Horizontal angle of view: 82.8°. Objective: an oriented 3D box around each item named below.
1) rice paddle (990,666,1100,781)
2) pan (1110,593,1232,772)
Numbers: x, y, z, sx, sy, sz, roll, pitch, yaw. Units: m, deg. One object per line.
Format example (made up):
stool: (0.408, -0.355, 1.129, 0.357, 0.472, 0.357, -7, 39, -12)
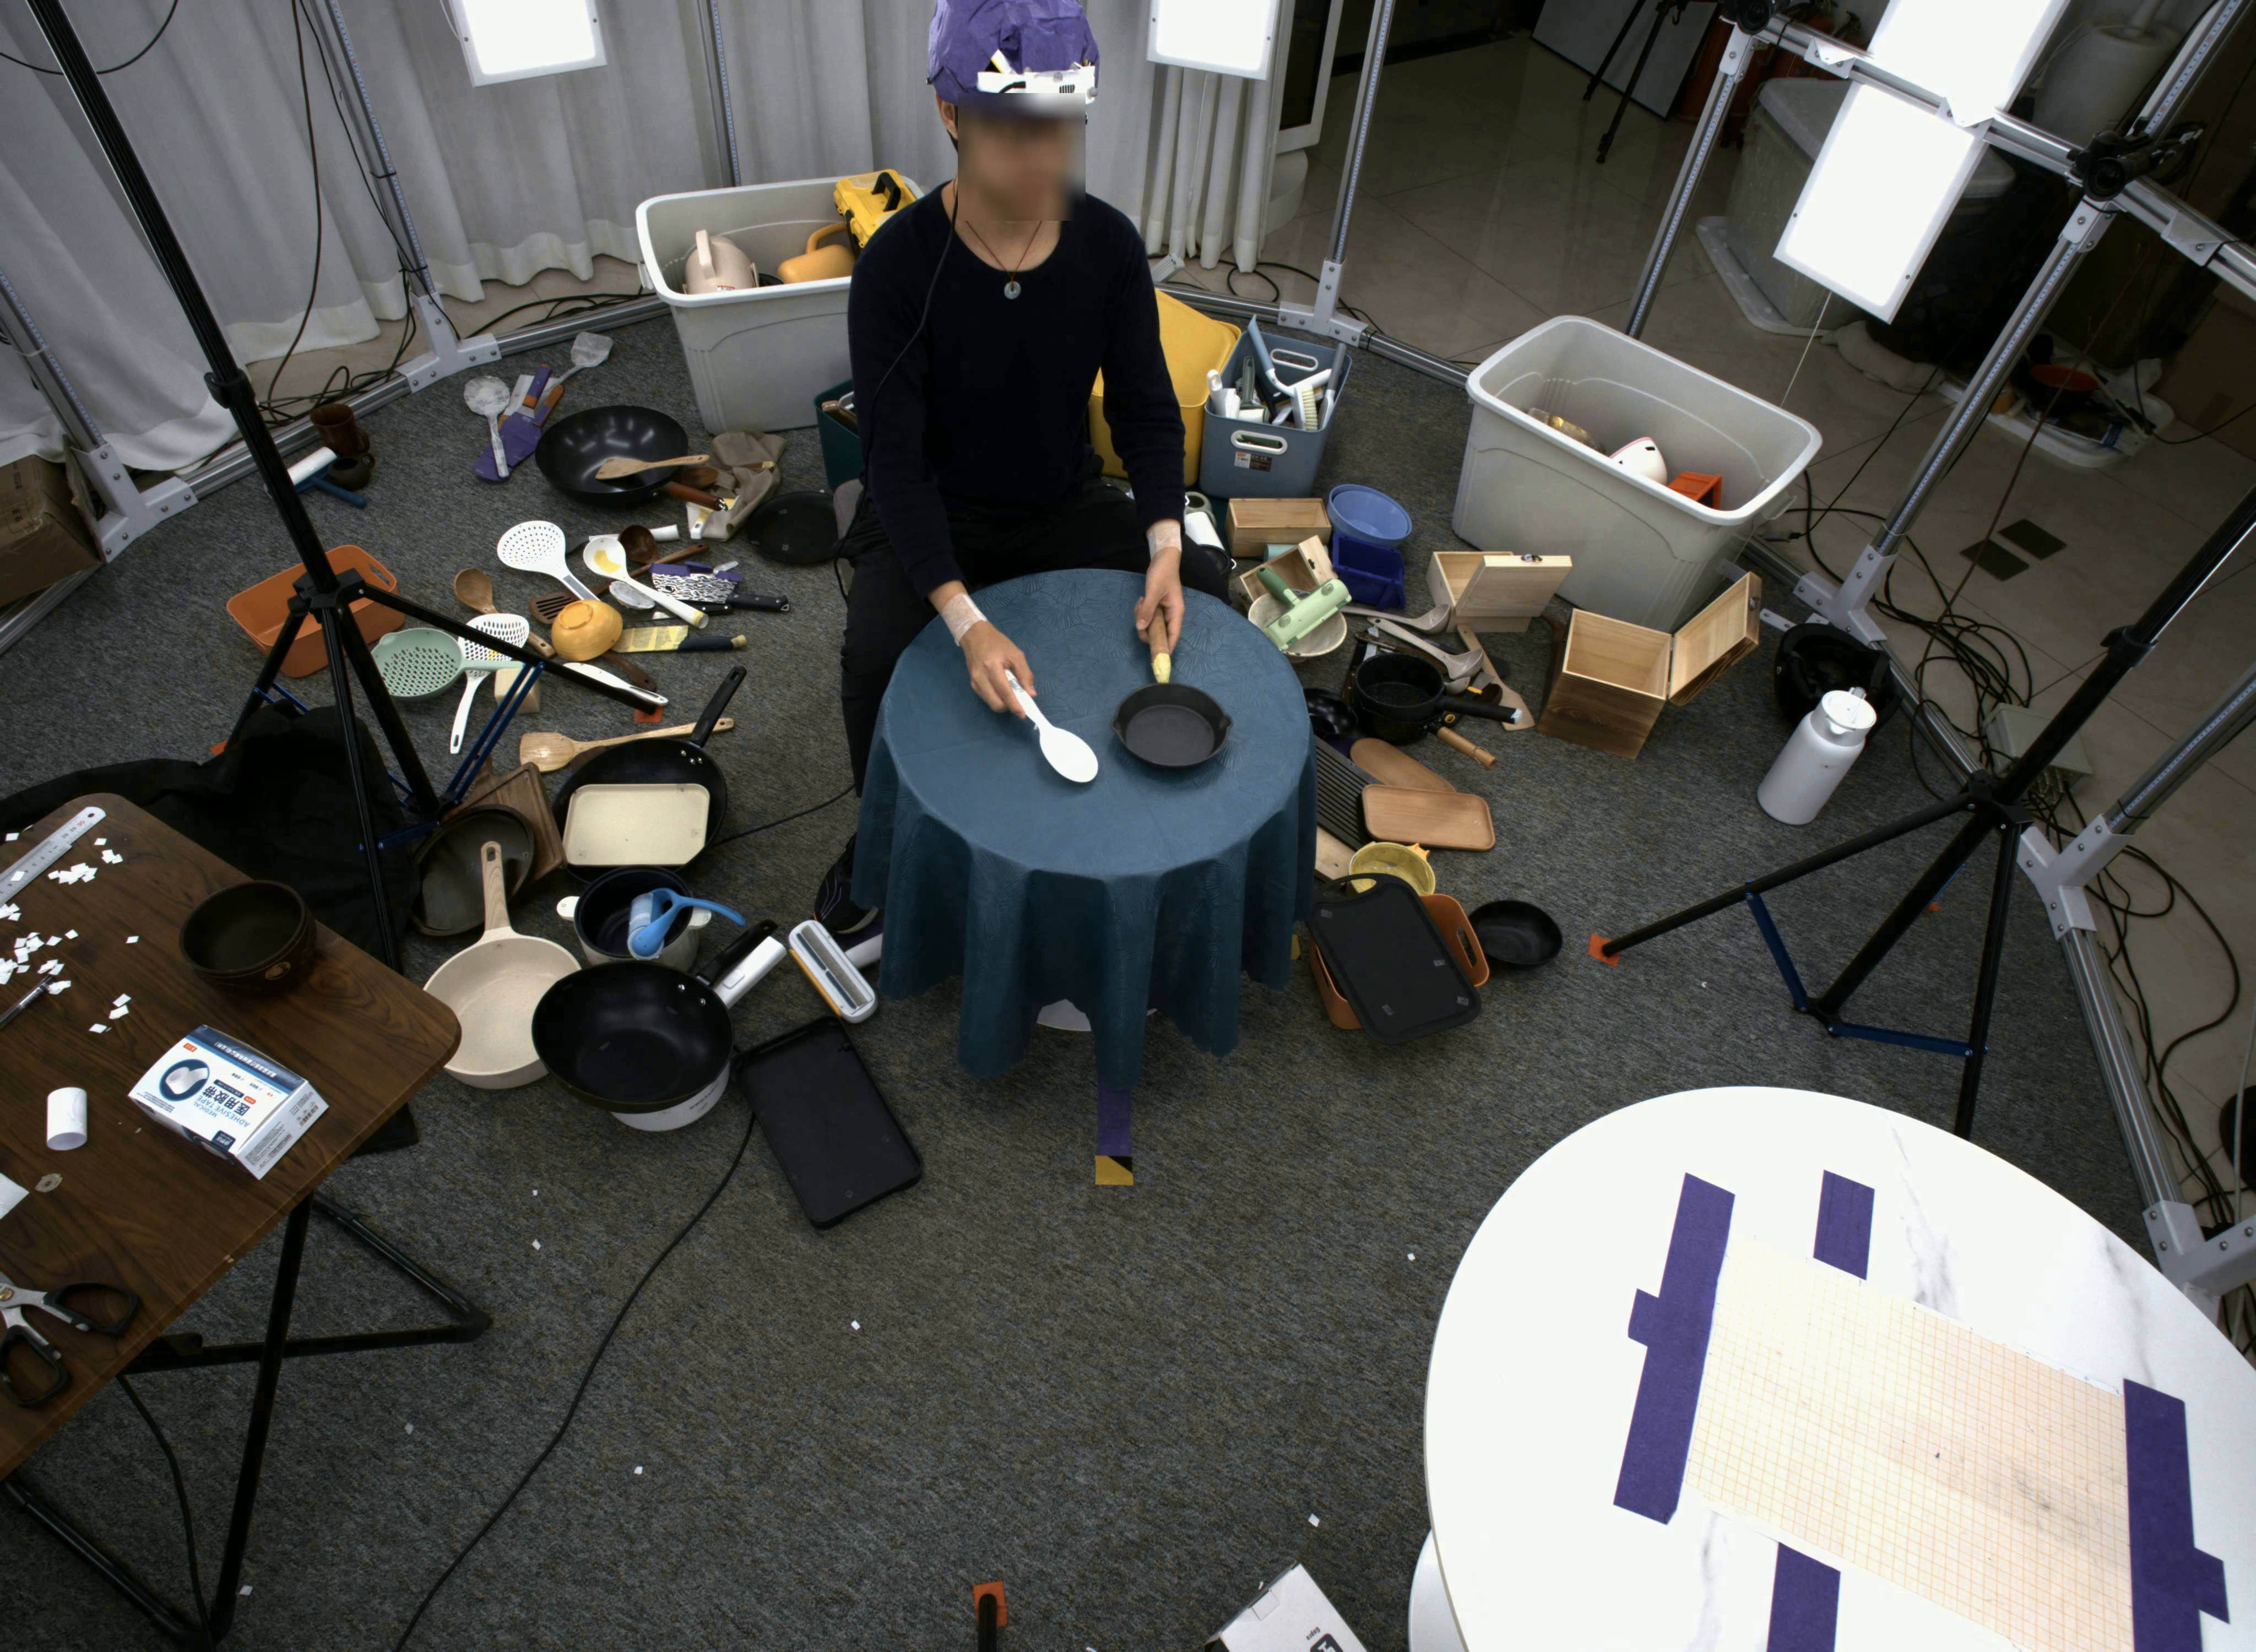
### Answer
rice paddle: (-0.112, -0.137, 1.736, 0.069, 0.029, 0.208, -28, 67, -36)
pan: (0.054, -0.204, 1.815, 0.169, 0.048, 0.332, -1, 51, -5)
